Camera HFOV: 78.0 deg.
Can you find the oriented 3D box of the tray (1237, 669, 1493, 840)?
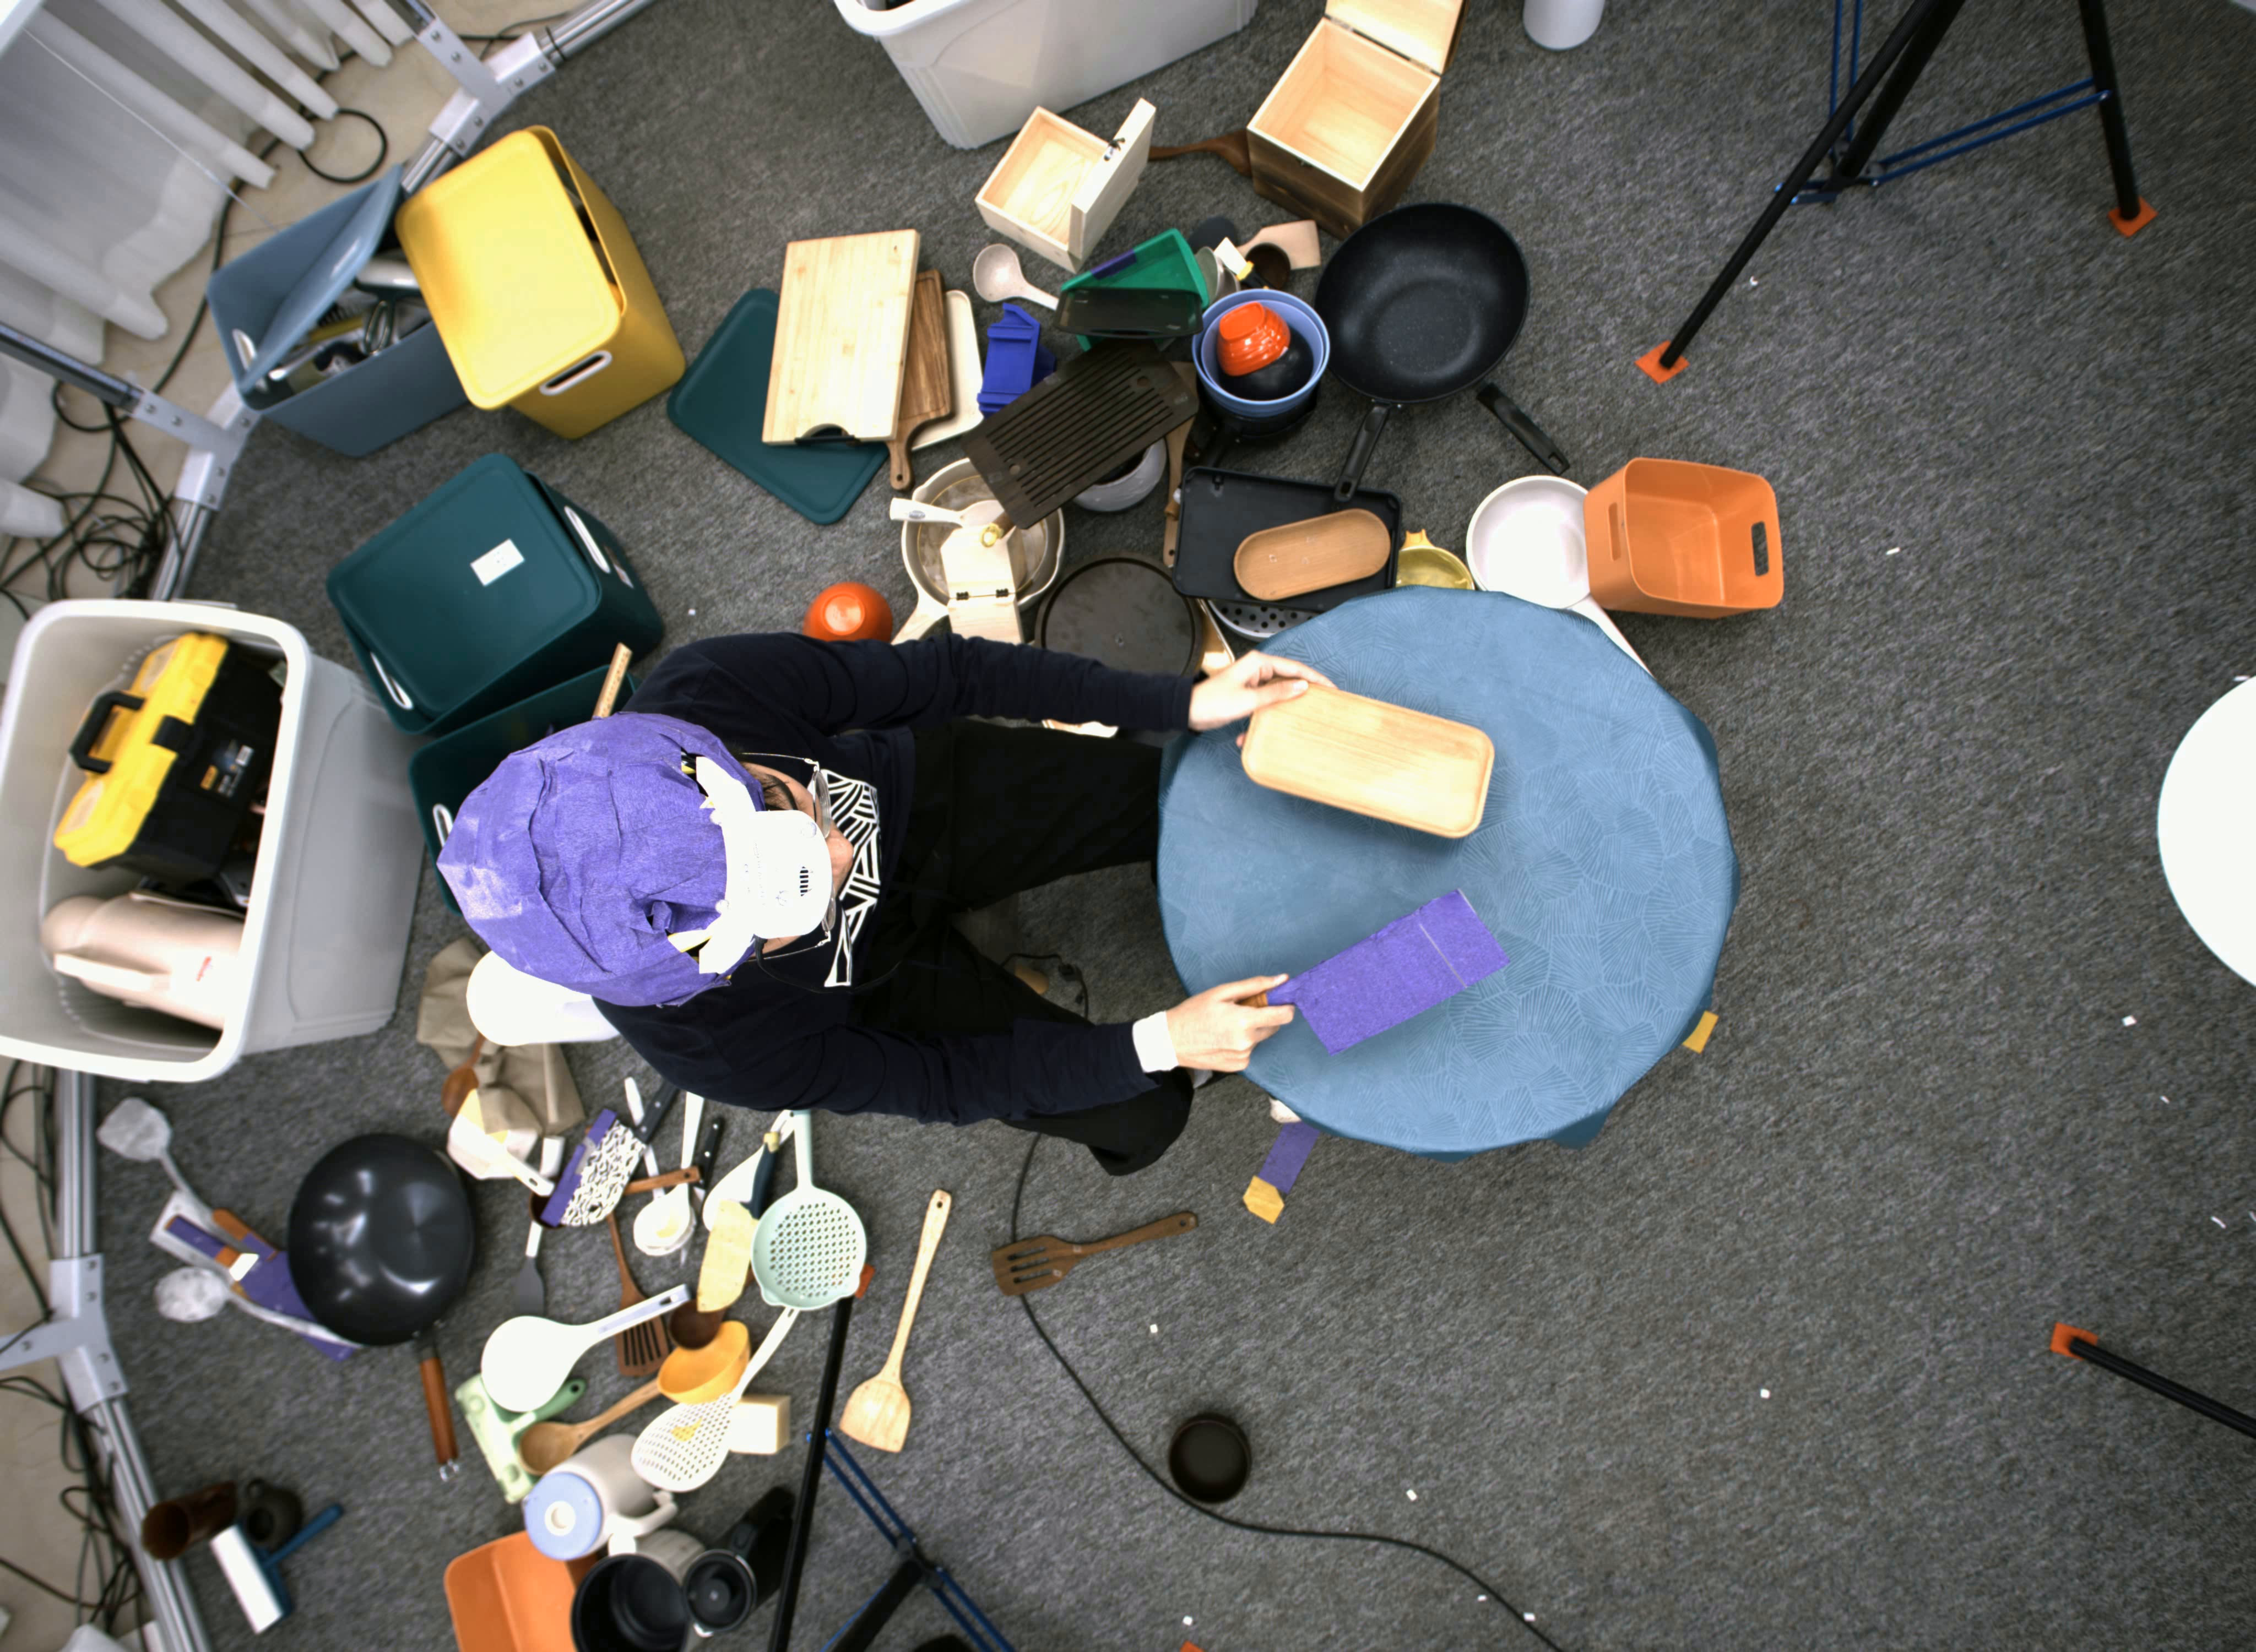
[{"bbox_3d":[0.242,-0.075,1.408,0.251,0.023,0.128,19,66,7],"label":"tray"}]

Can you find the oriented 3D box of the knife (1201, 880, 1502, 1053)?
[{"bbox_3d":[0.215,0.167,1.358,0.321,0.031,0.104,-34,94,30],"label":"knife"}]
